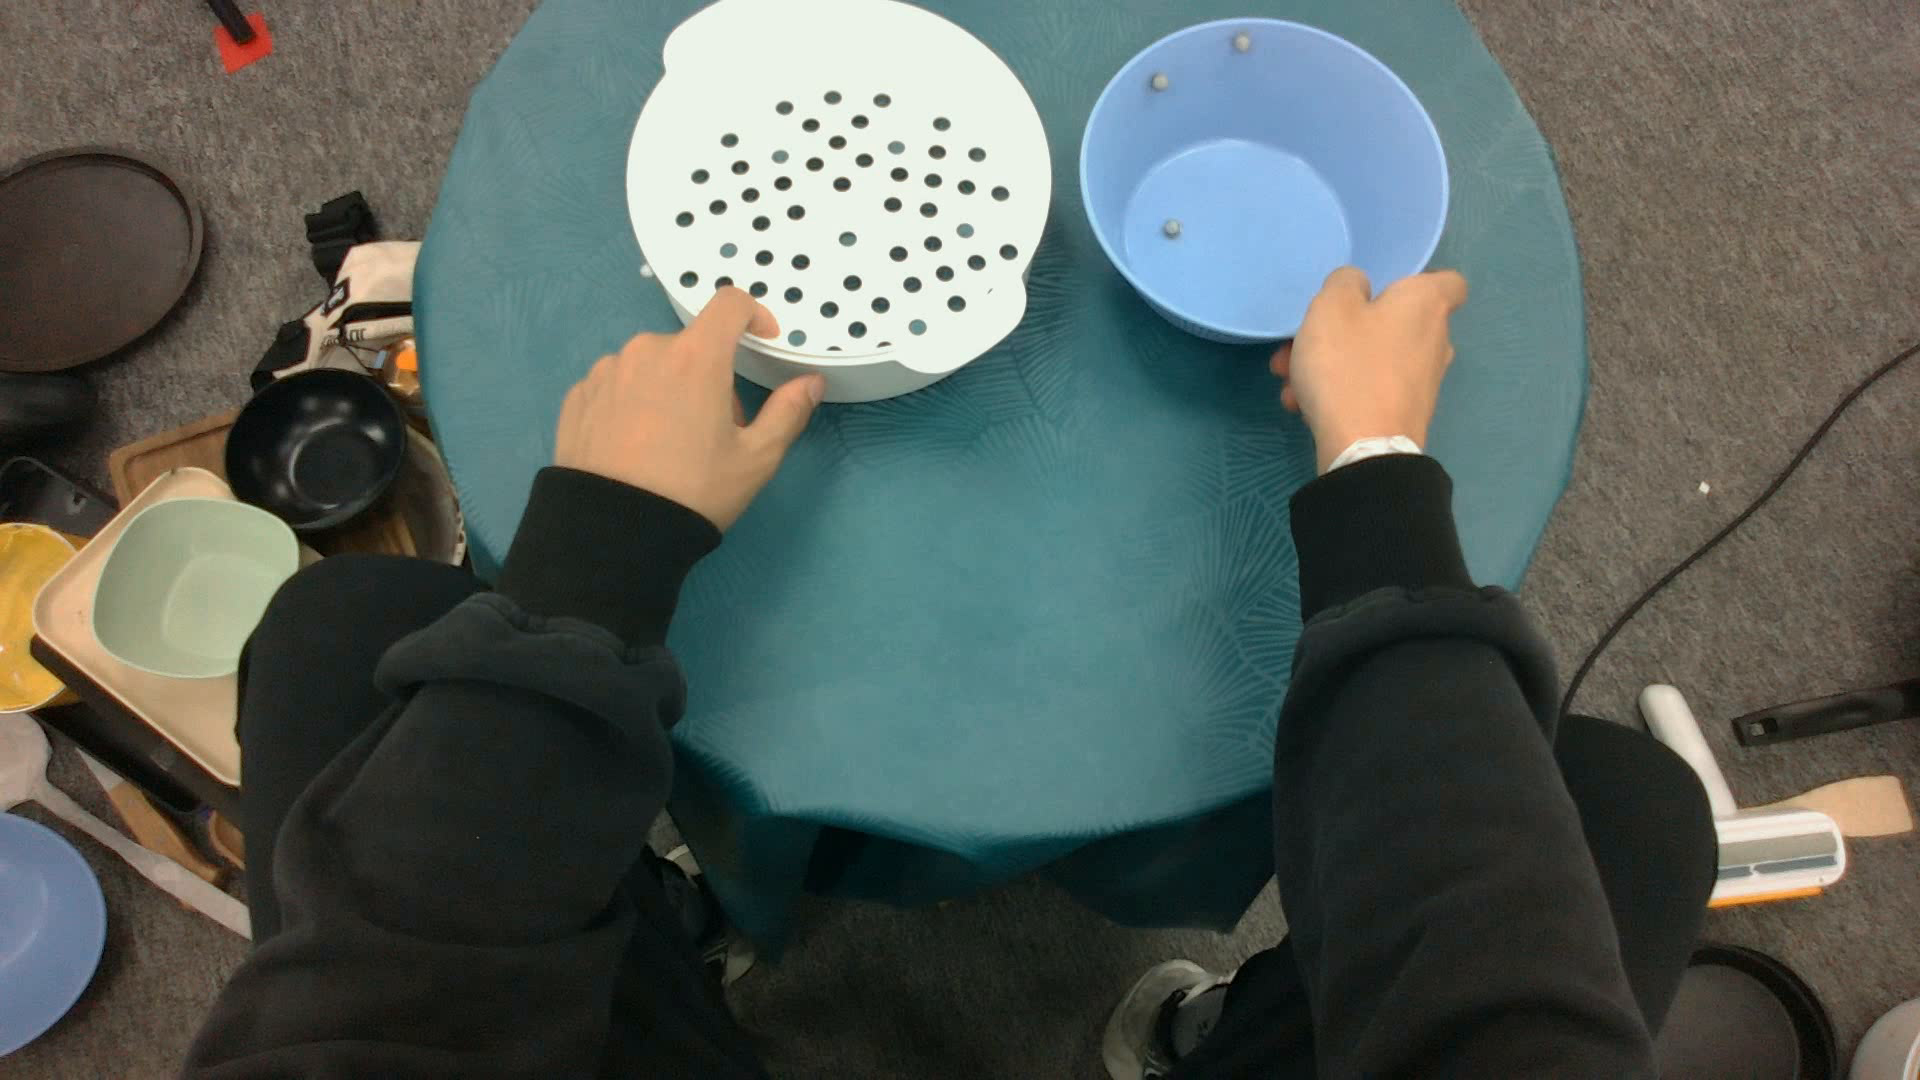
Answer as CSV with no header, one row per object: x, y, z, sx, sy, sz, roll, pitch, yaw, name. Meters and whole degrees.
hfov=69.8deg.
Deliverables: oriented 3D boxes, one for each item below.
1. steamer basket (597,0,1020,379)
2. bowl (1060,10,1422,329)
-0.073,-0.177,0.683,0.202,0.069,0.231,-36,74,-13,steamer basket
0.134,-0.173,0.691,0.176,0.070,0.176,1,70,-3,bowl
